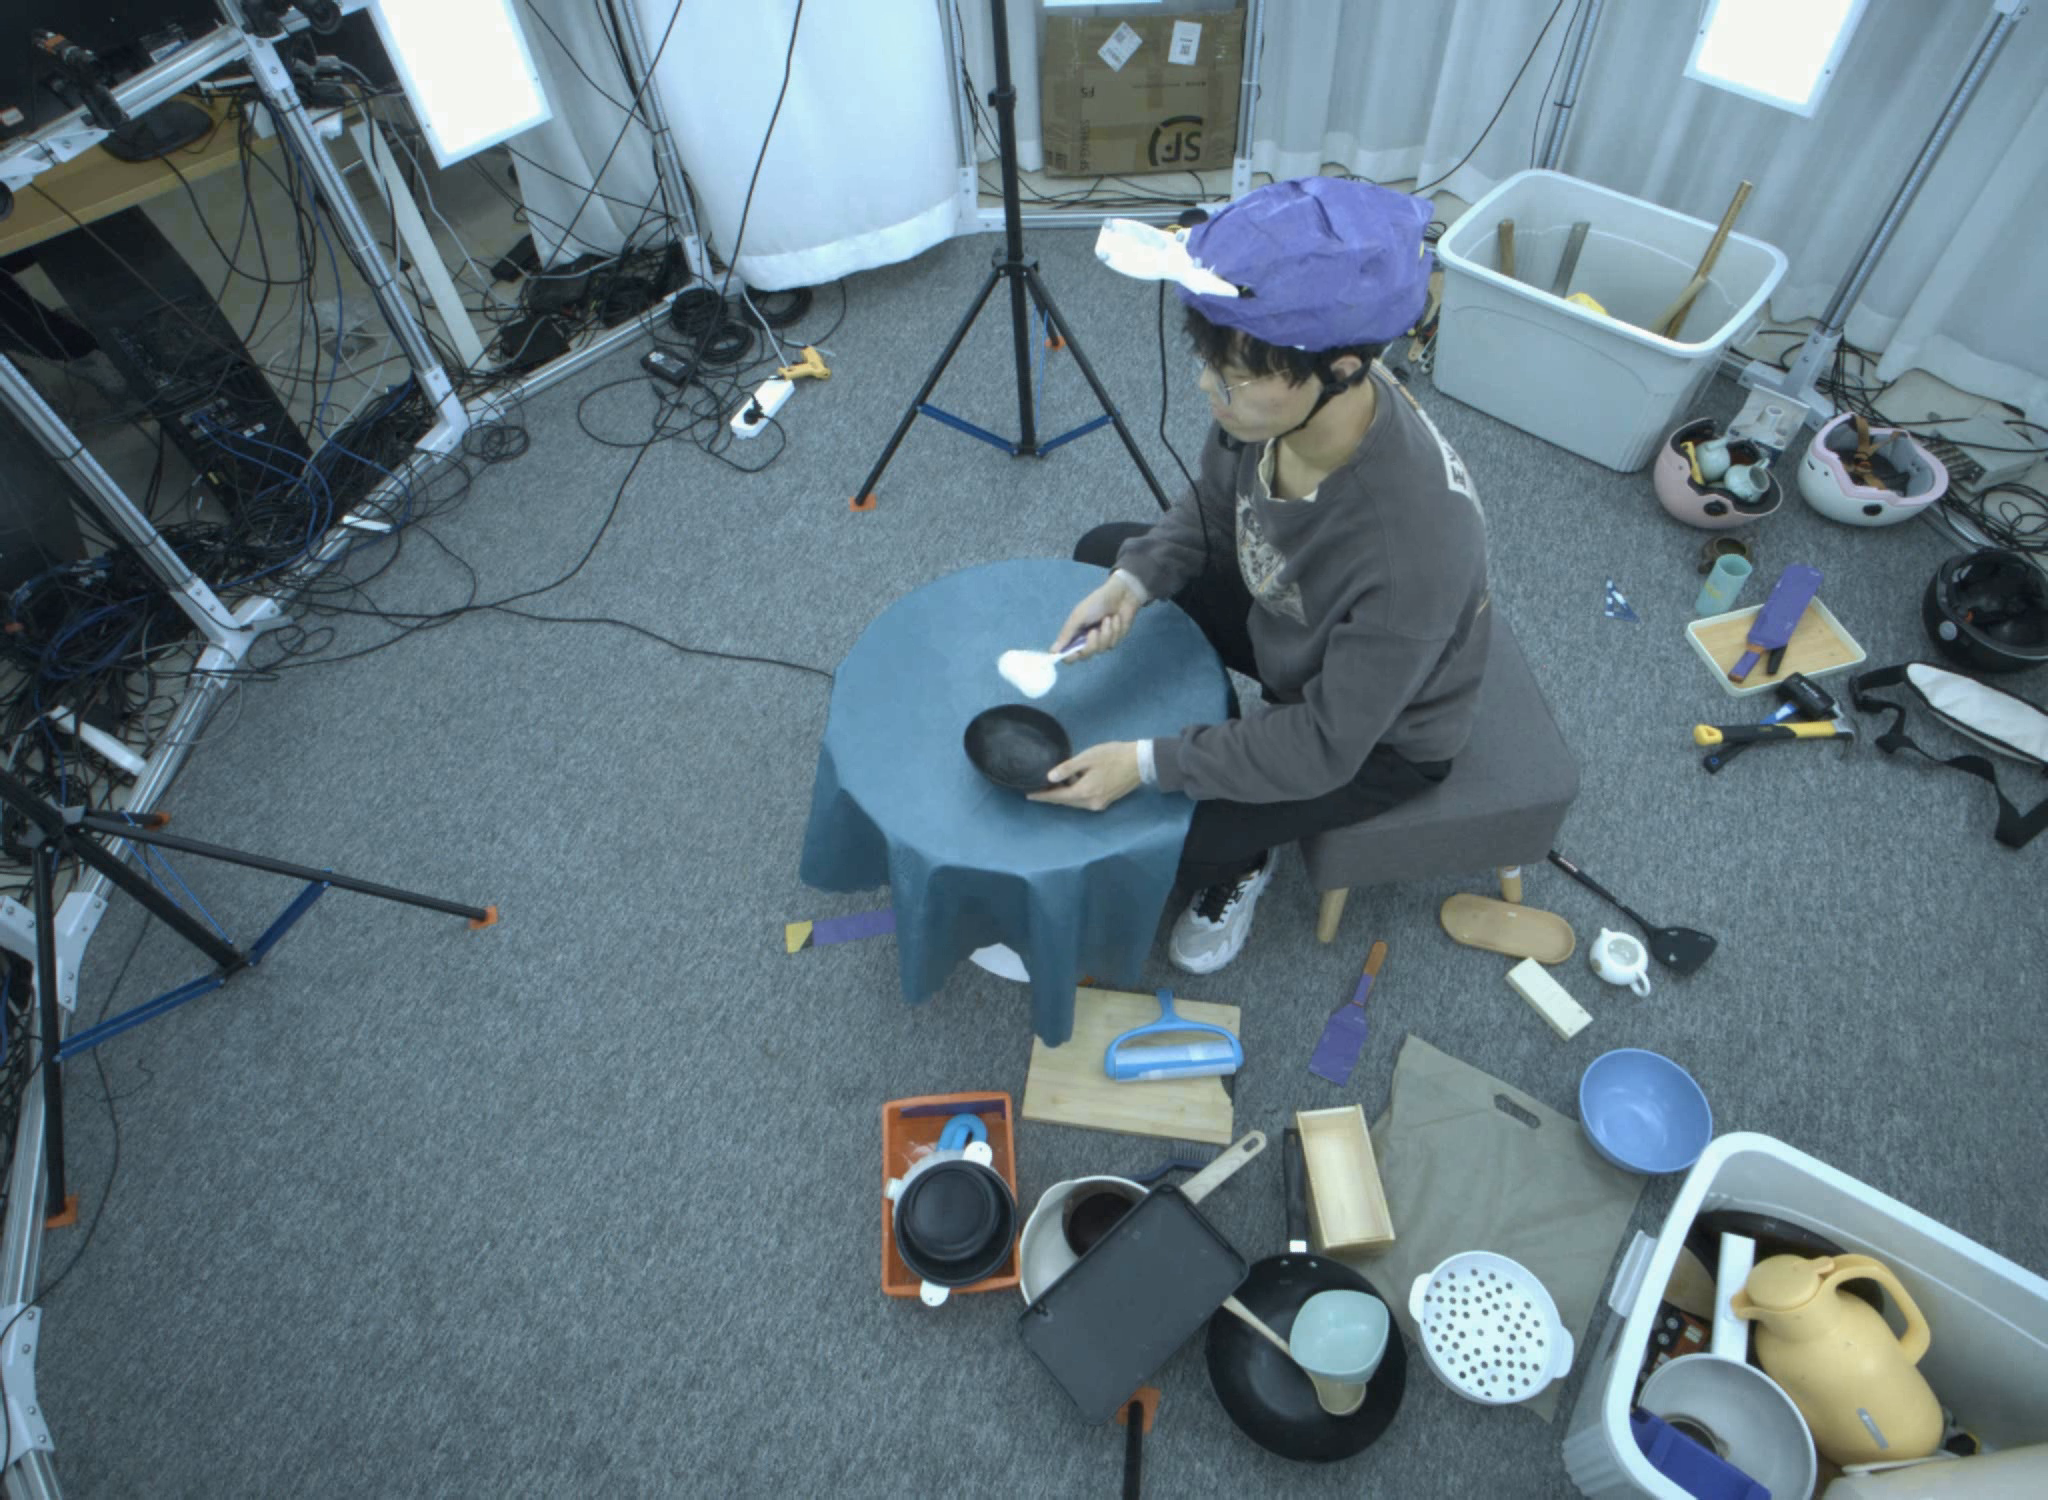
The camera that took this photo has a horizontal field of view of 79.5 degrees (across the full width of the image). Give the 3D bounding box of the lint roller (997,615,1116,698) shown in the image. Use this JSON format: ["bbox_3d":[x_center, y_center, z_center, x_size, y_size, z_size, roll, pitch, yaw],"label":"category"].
[{"bbox_3d":[0.052,-0.148,1.748,0.181,0.051,0.130,-38,26,-4],"label":"lint roller"}]

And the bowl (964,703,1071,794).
[{"bbox_3d":[-0.010,0.008,1.740,0.167,0.067,0.138,36,62,26],"label":"bowl"}]
